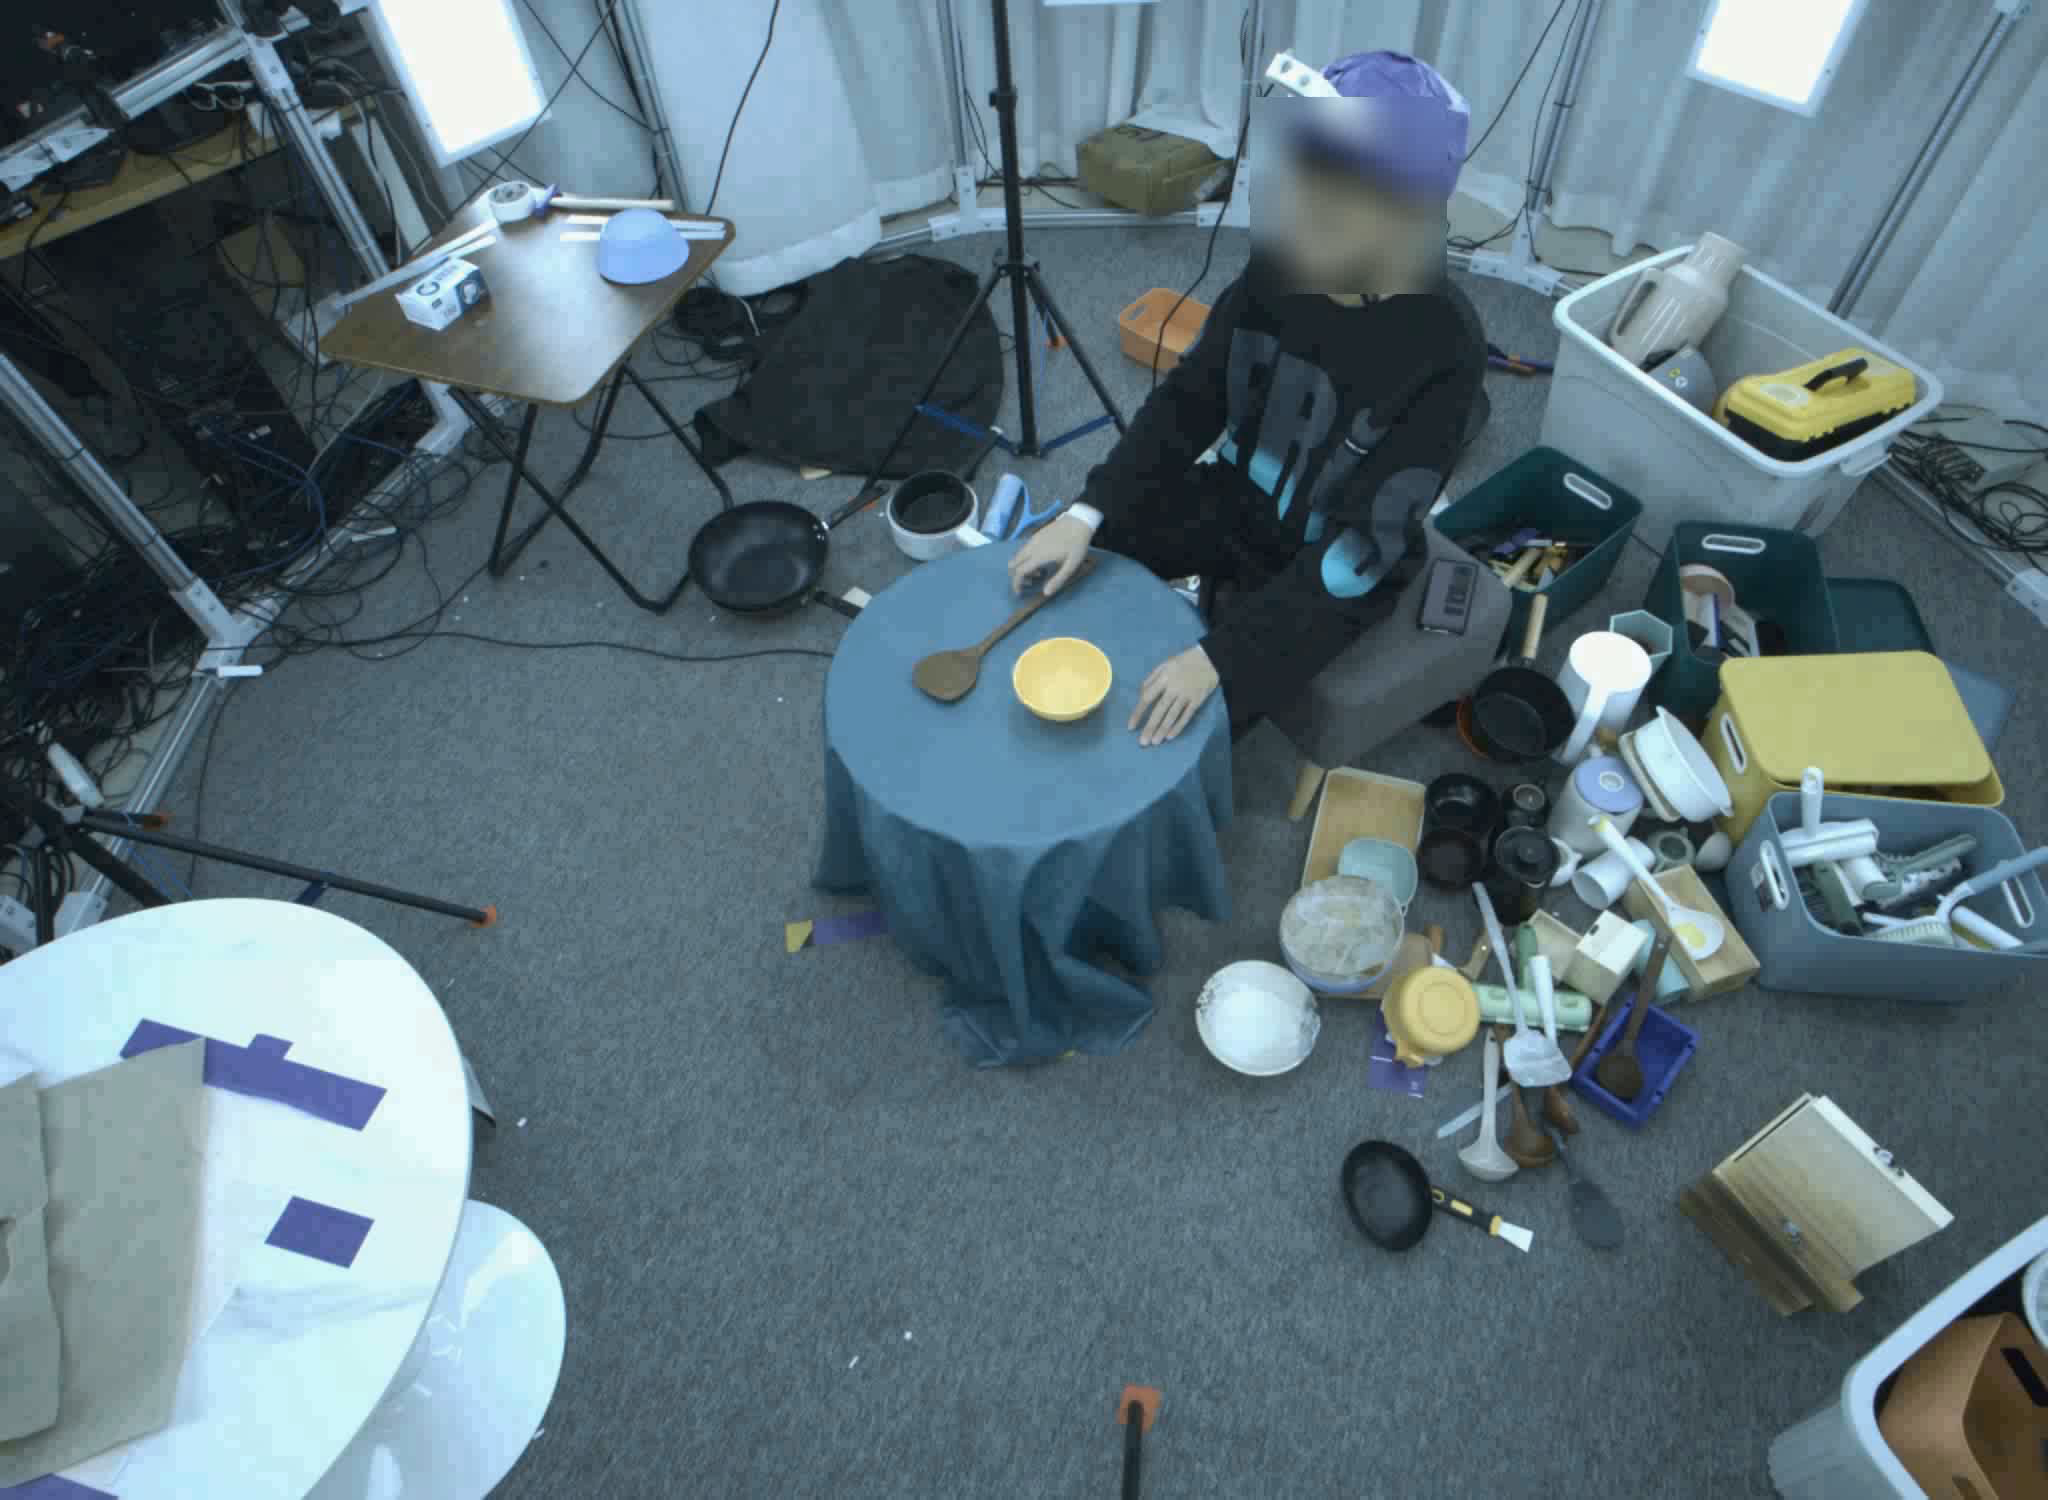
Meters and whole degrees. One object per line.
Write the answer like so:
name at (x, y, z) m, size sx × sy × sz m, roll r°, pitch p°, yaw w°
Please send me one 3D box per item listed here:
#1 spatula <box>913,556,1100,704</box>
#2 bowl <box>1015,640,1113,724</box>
spatula at (-0.014, -0.200, 1.930) m, size 0.094 × 0.016 × 0.388 m, roll 37°, pitch 64°, yaw 24°
bowl at (0.058, -0.089, 1.825) m, size 0.145 × 0.060 × 0.144 m, roll 1°, pitch 56°, yaw 0°
